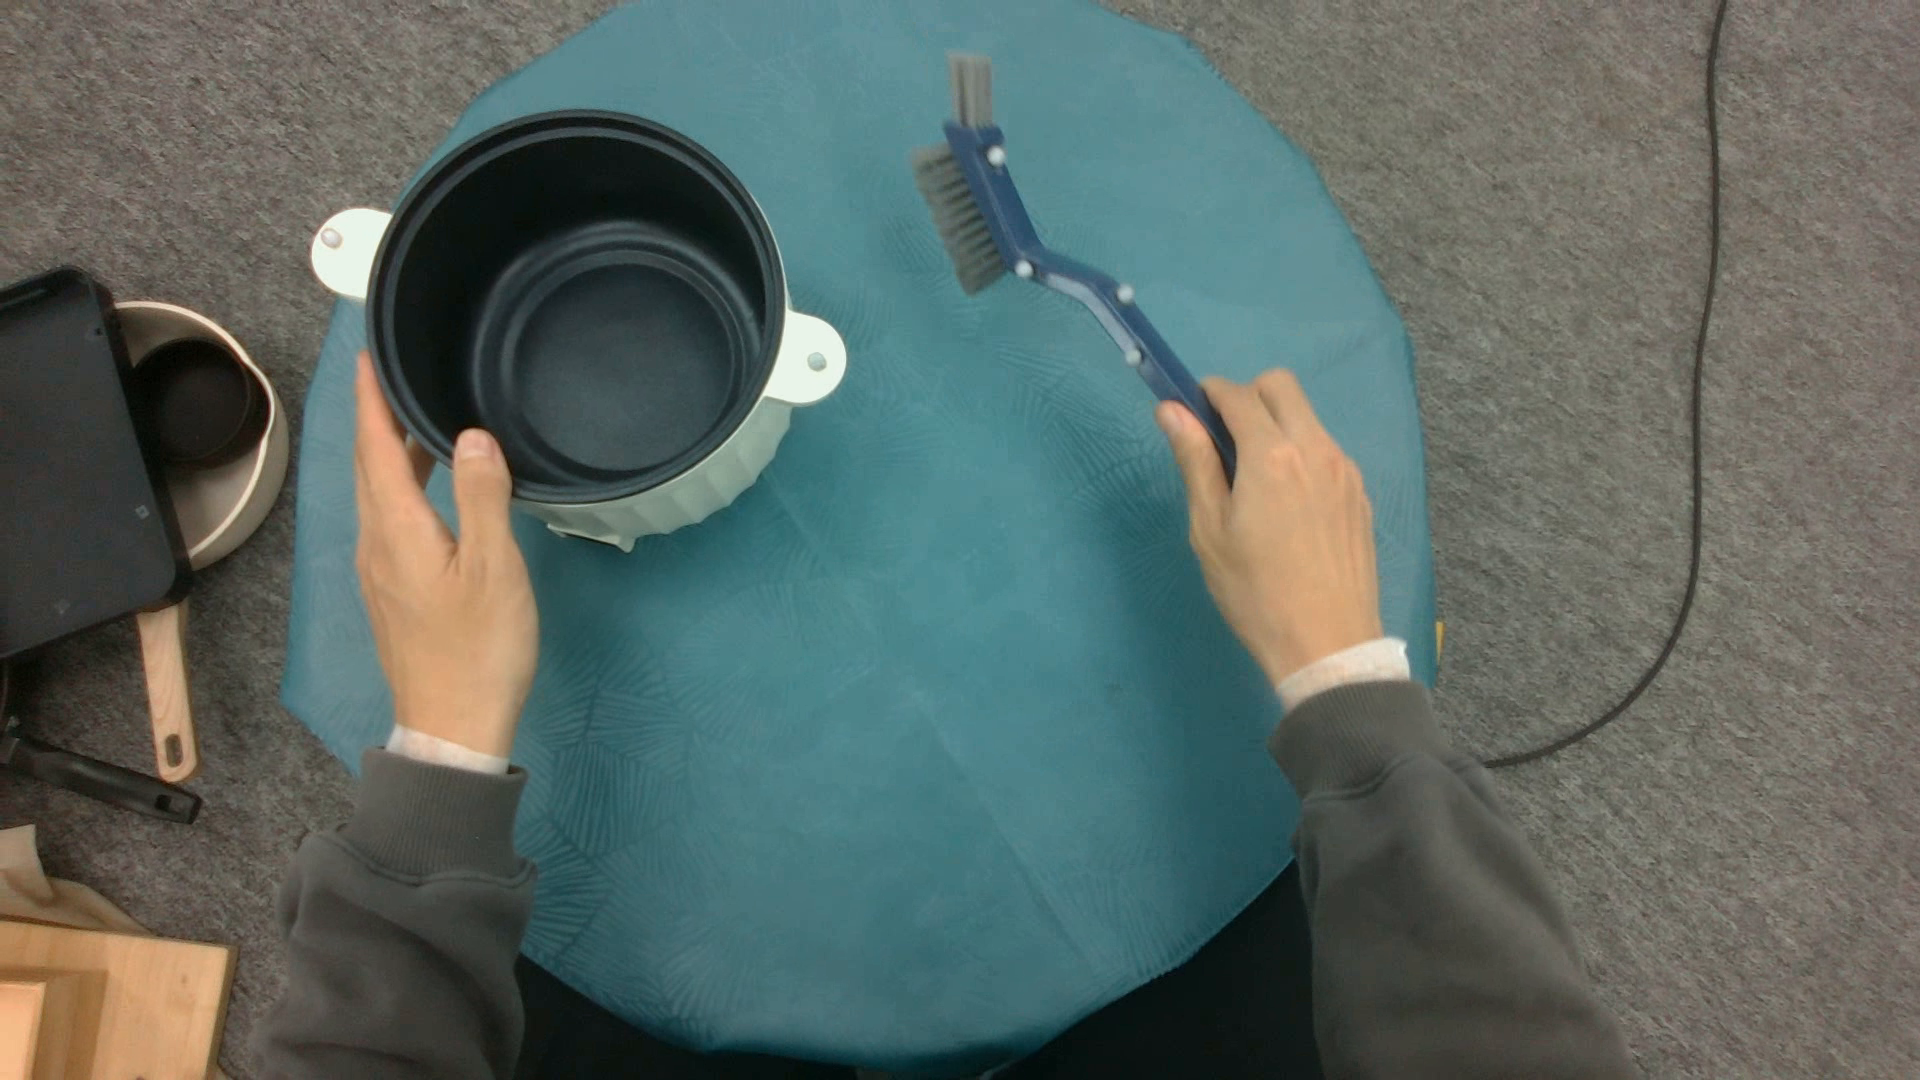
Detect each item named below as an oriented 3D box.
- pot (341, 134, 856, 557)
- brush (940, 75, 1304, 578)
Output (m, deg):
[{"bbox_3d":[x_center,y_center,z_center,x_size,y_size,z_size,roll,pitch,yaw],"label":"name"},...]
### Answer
[{"bbox_3d":[-0.165,-0.094,0.688,0.240,0.142,0.191,13,83,1],"label":"pot"},{"bbox_3d":[0.087,-0.102,0.672,0.273,0.033,0.095,47,121,10],"label":"brush"}]
